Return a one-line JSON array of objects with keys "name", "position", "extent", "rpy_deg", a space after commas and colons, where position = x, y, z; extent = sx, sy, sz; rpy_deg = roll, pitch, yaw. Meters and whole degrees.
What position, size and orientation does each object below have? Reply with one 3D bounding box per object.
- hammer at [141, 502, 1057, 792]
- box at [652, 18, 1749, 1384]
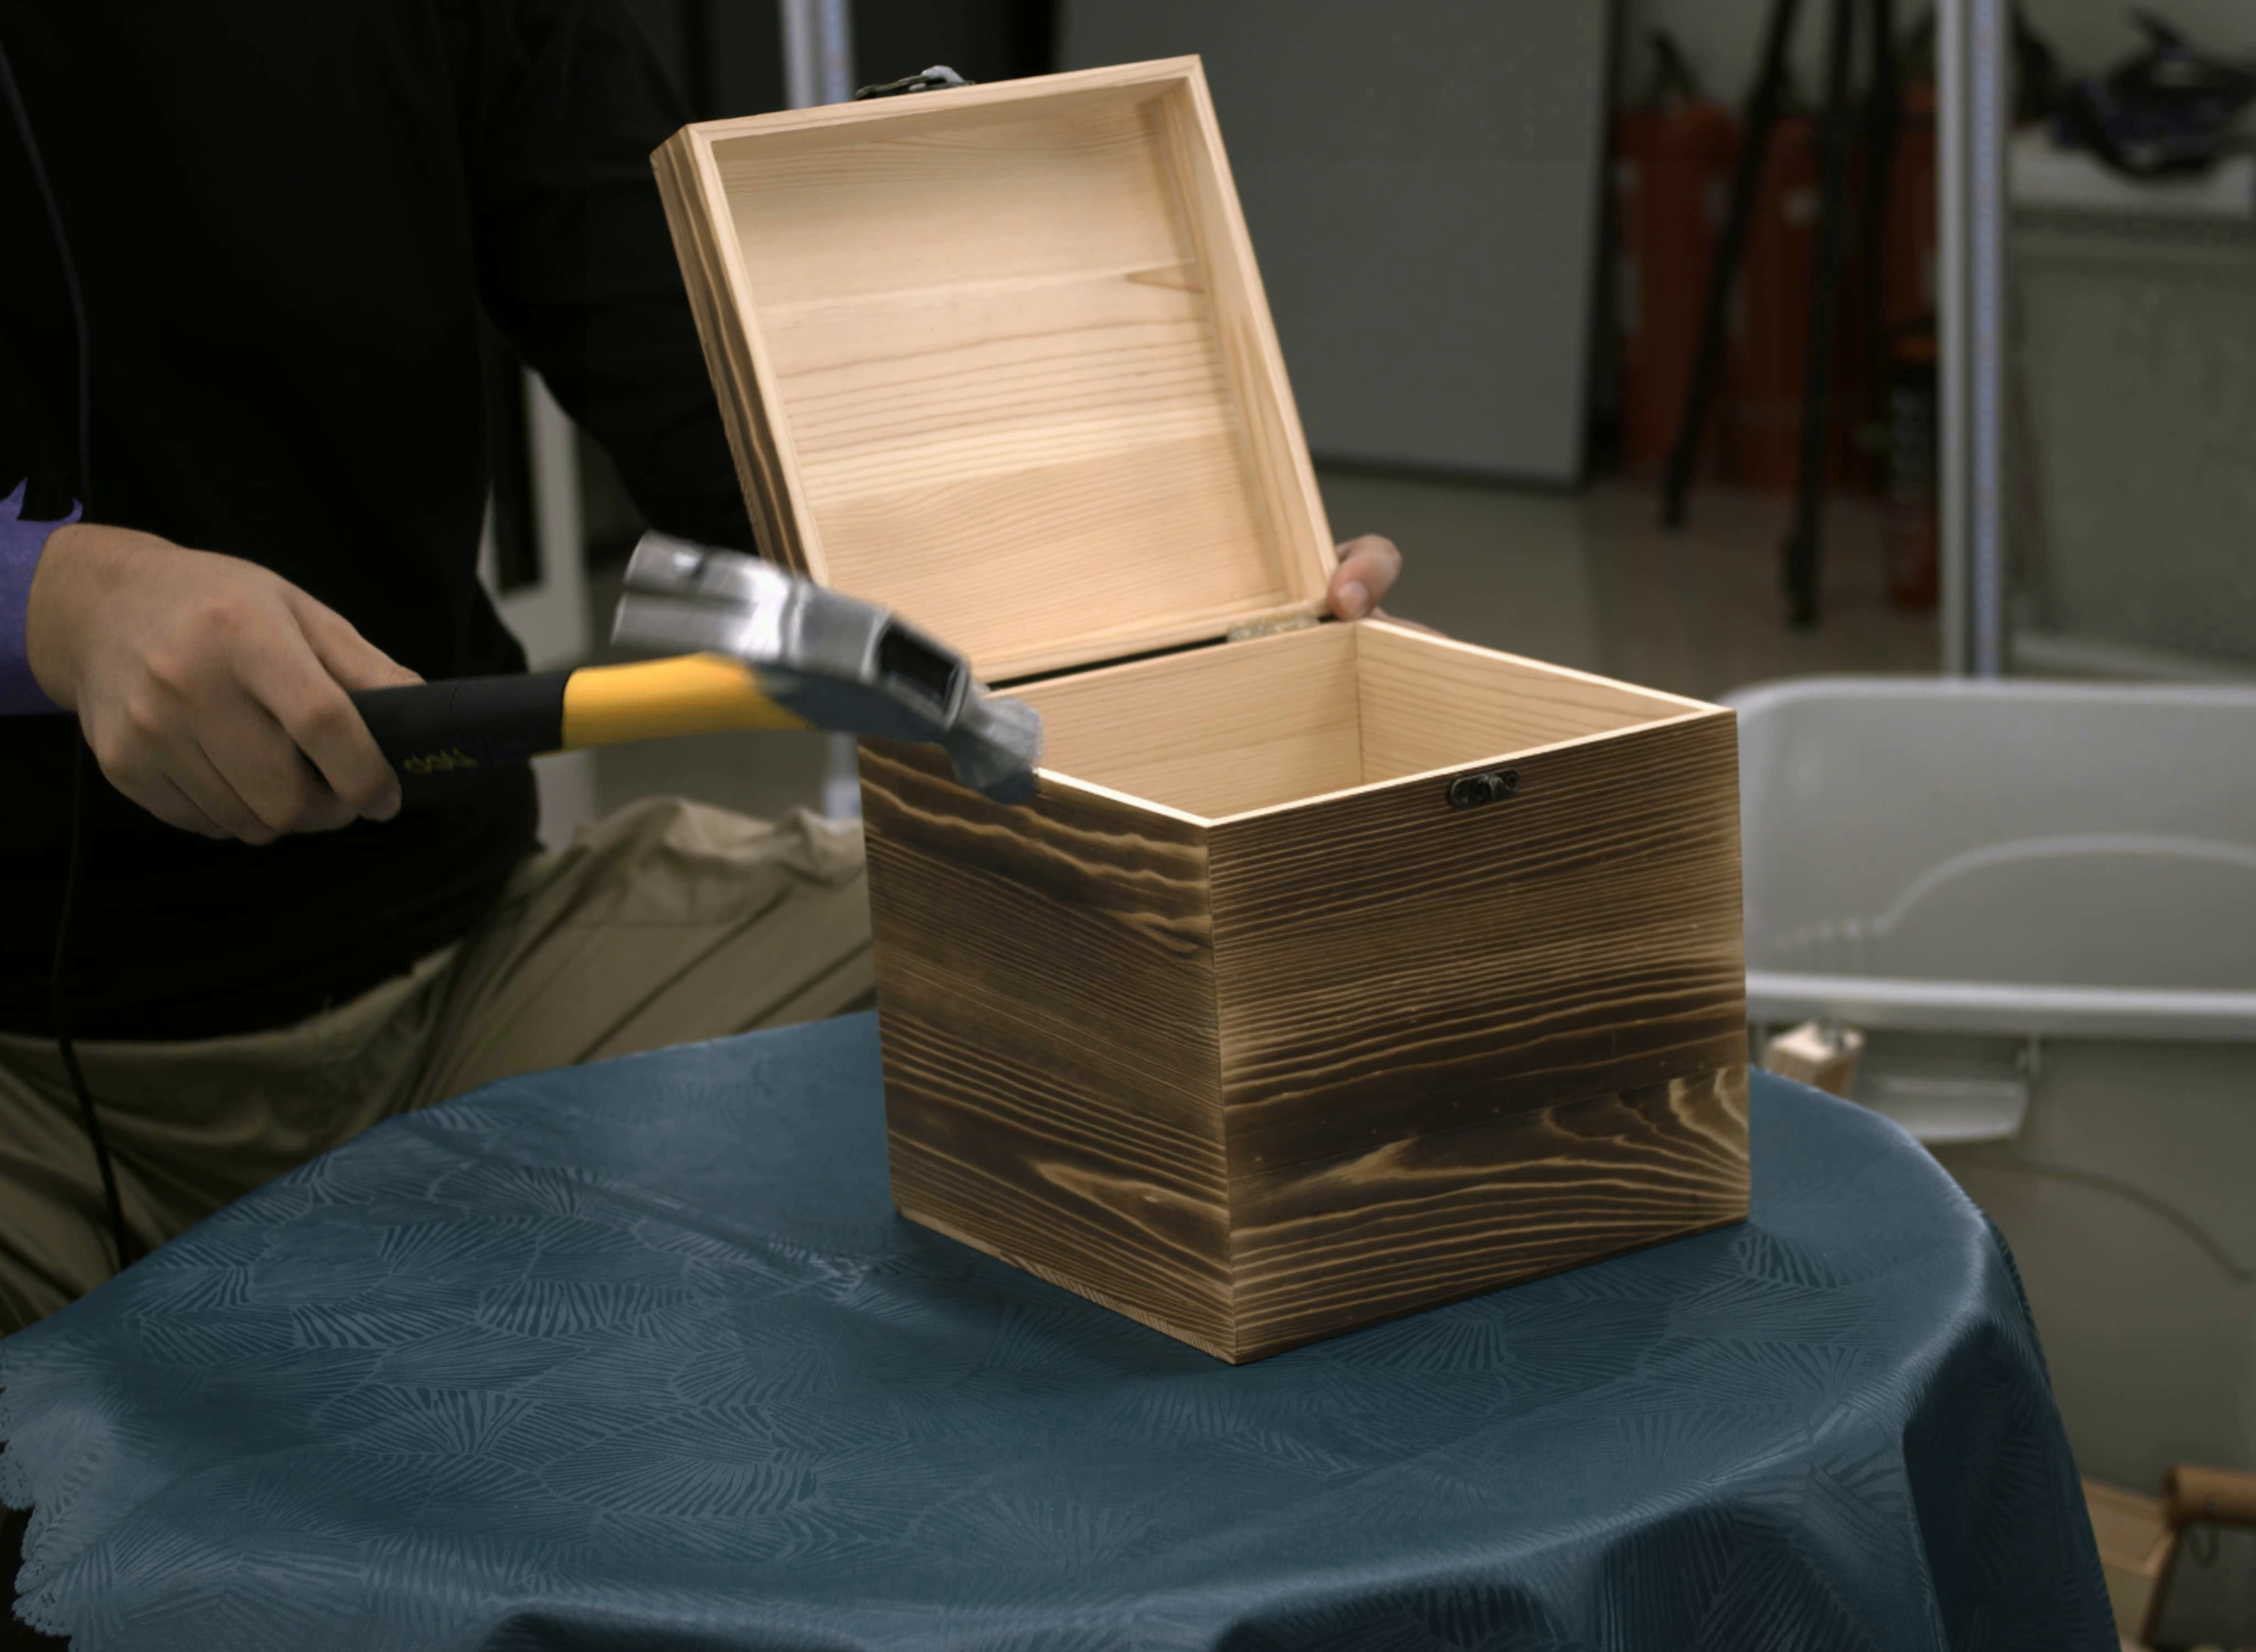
[{"name": "hammer", "position": [-0.183, -0.041, 1.640], "extent": [0.341, 0.032, 0.129], "rpy_deg": [-5, -30, 43]}, {"name": "box", "position": [0.020, -0.058, 1.735], "extent": [0.204, 0.379, 0.325], "rpy_deg": [-12, 16, -30]}]
